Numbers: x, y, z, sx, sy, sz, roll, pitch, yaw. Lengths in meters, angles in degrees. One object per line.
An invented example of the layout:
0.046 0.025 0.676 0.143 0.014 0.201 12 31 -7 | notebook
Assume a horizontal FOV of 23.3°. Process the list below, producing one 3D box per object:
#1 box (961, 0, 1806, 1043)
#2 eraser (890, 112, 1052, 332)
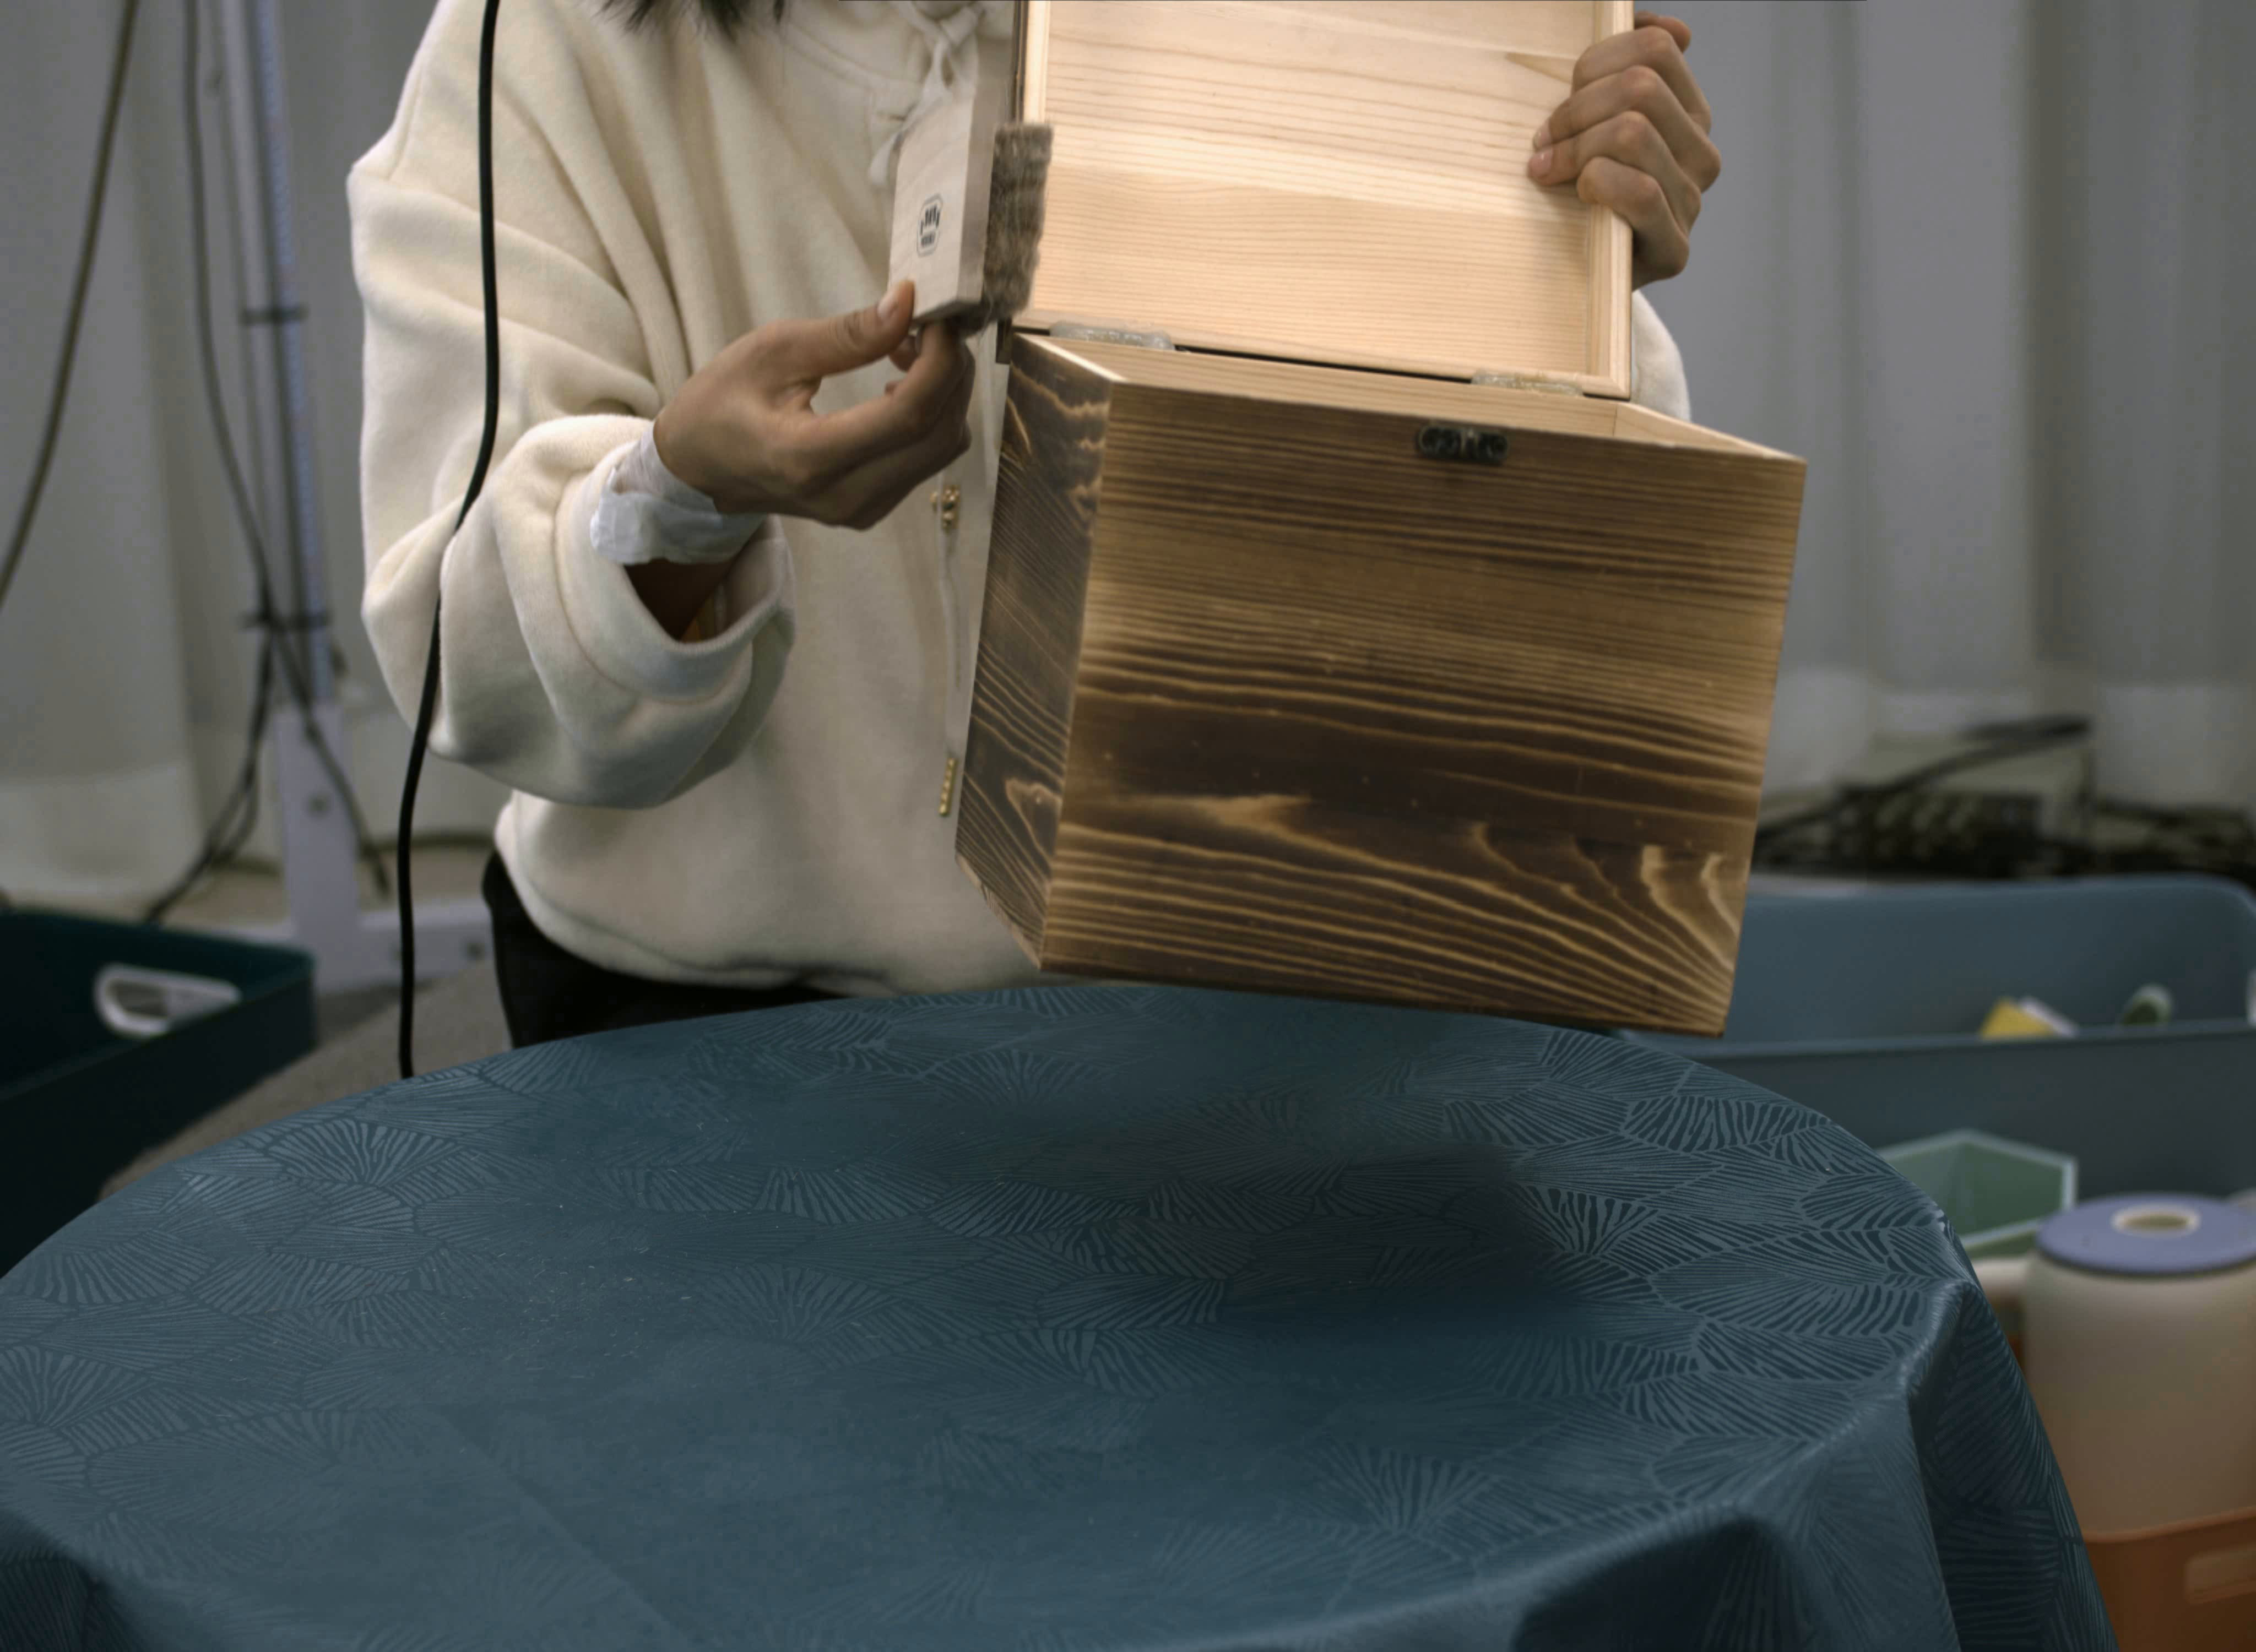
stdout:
0.069 -0.150 1.674 0.207 0.375 0.324 5 8 -10 | box
-0.051 -0.191 1.743 0.029 0.057 0.139 5 -1 -10 | eraser
